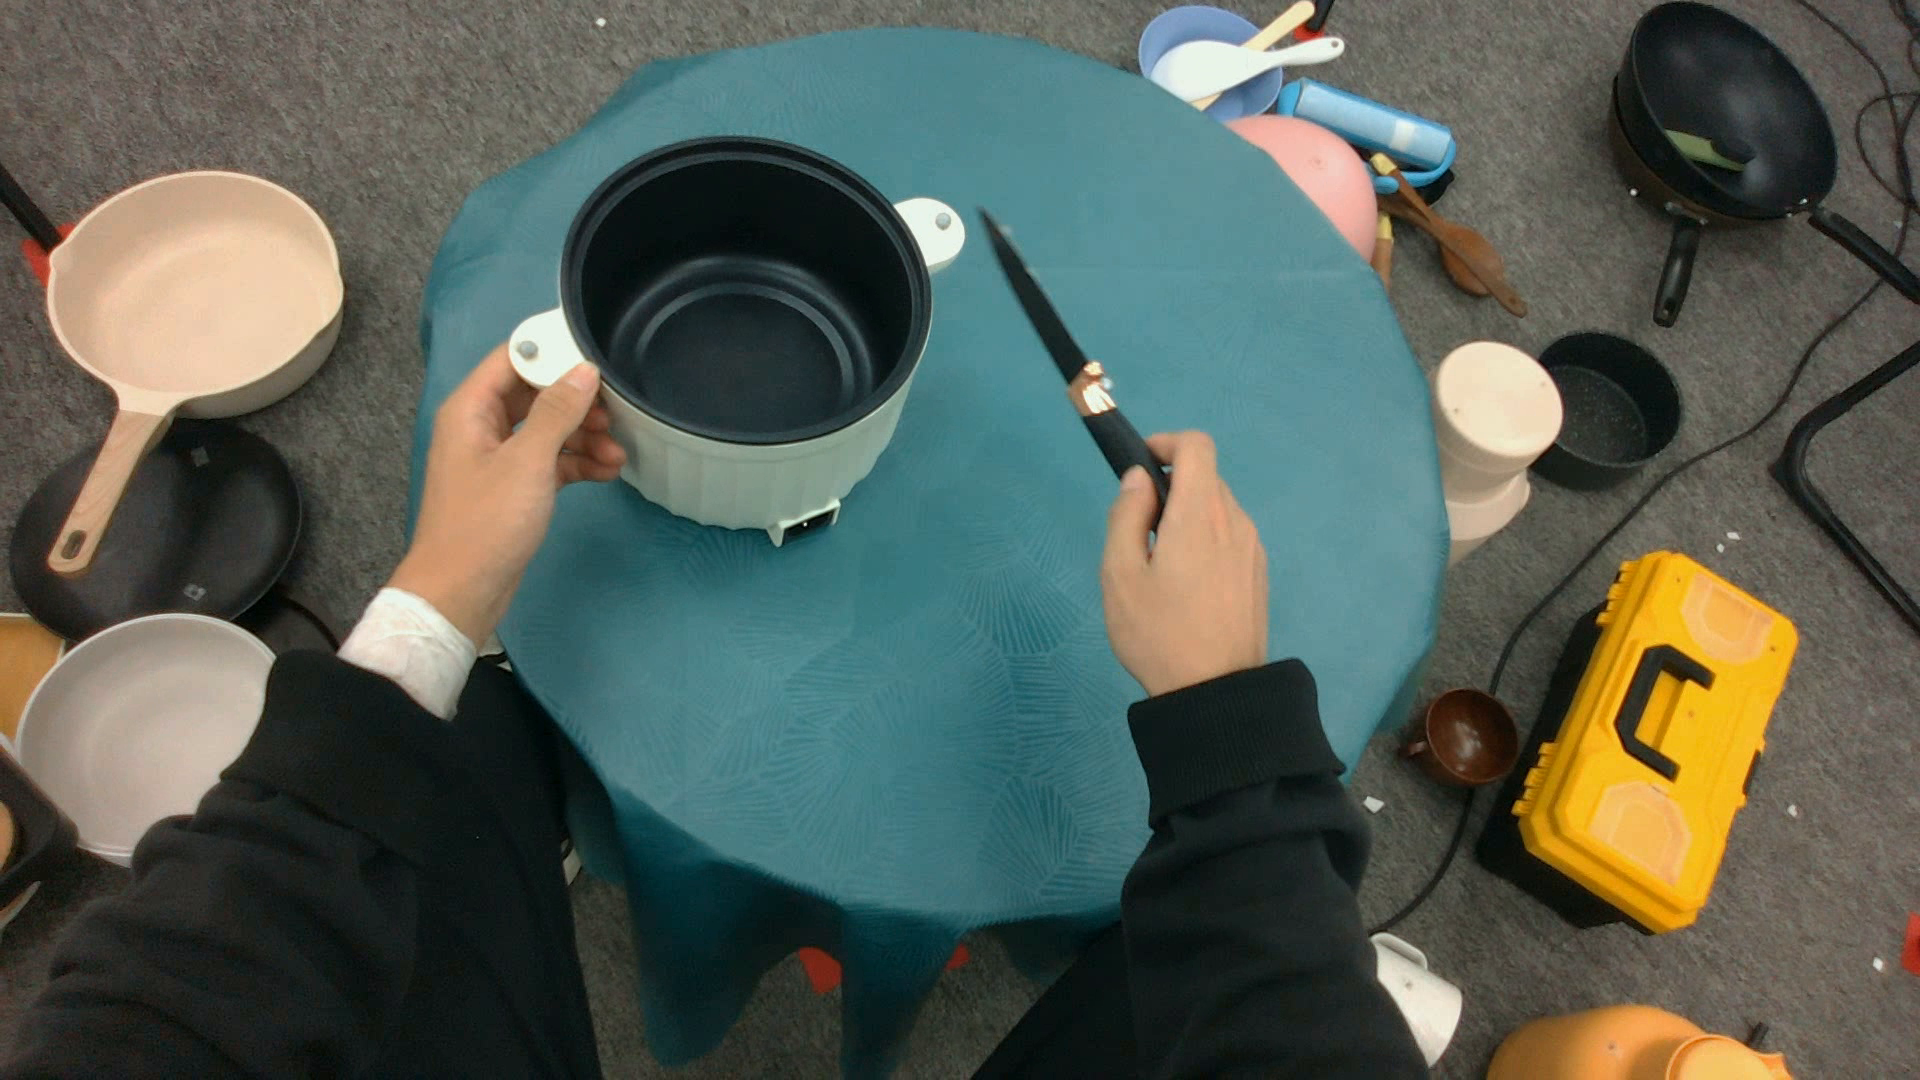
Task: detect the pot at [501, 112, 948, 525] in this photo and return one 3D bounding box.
[{"bbox_3d":[-0.127,-0.116,0.736,0.241,0.142,0.190,-25,77,-24],"label":"pot"}]

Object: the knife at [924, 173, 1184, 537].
[{"bbox_3d":[0.042,-0.094,0.675,0.017,0.026,0.226,-26,72,-24],"label":"knife"}]
